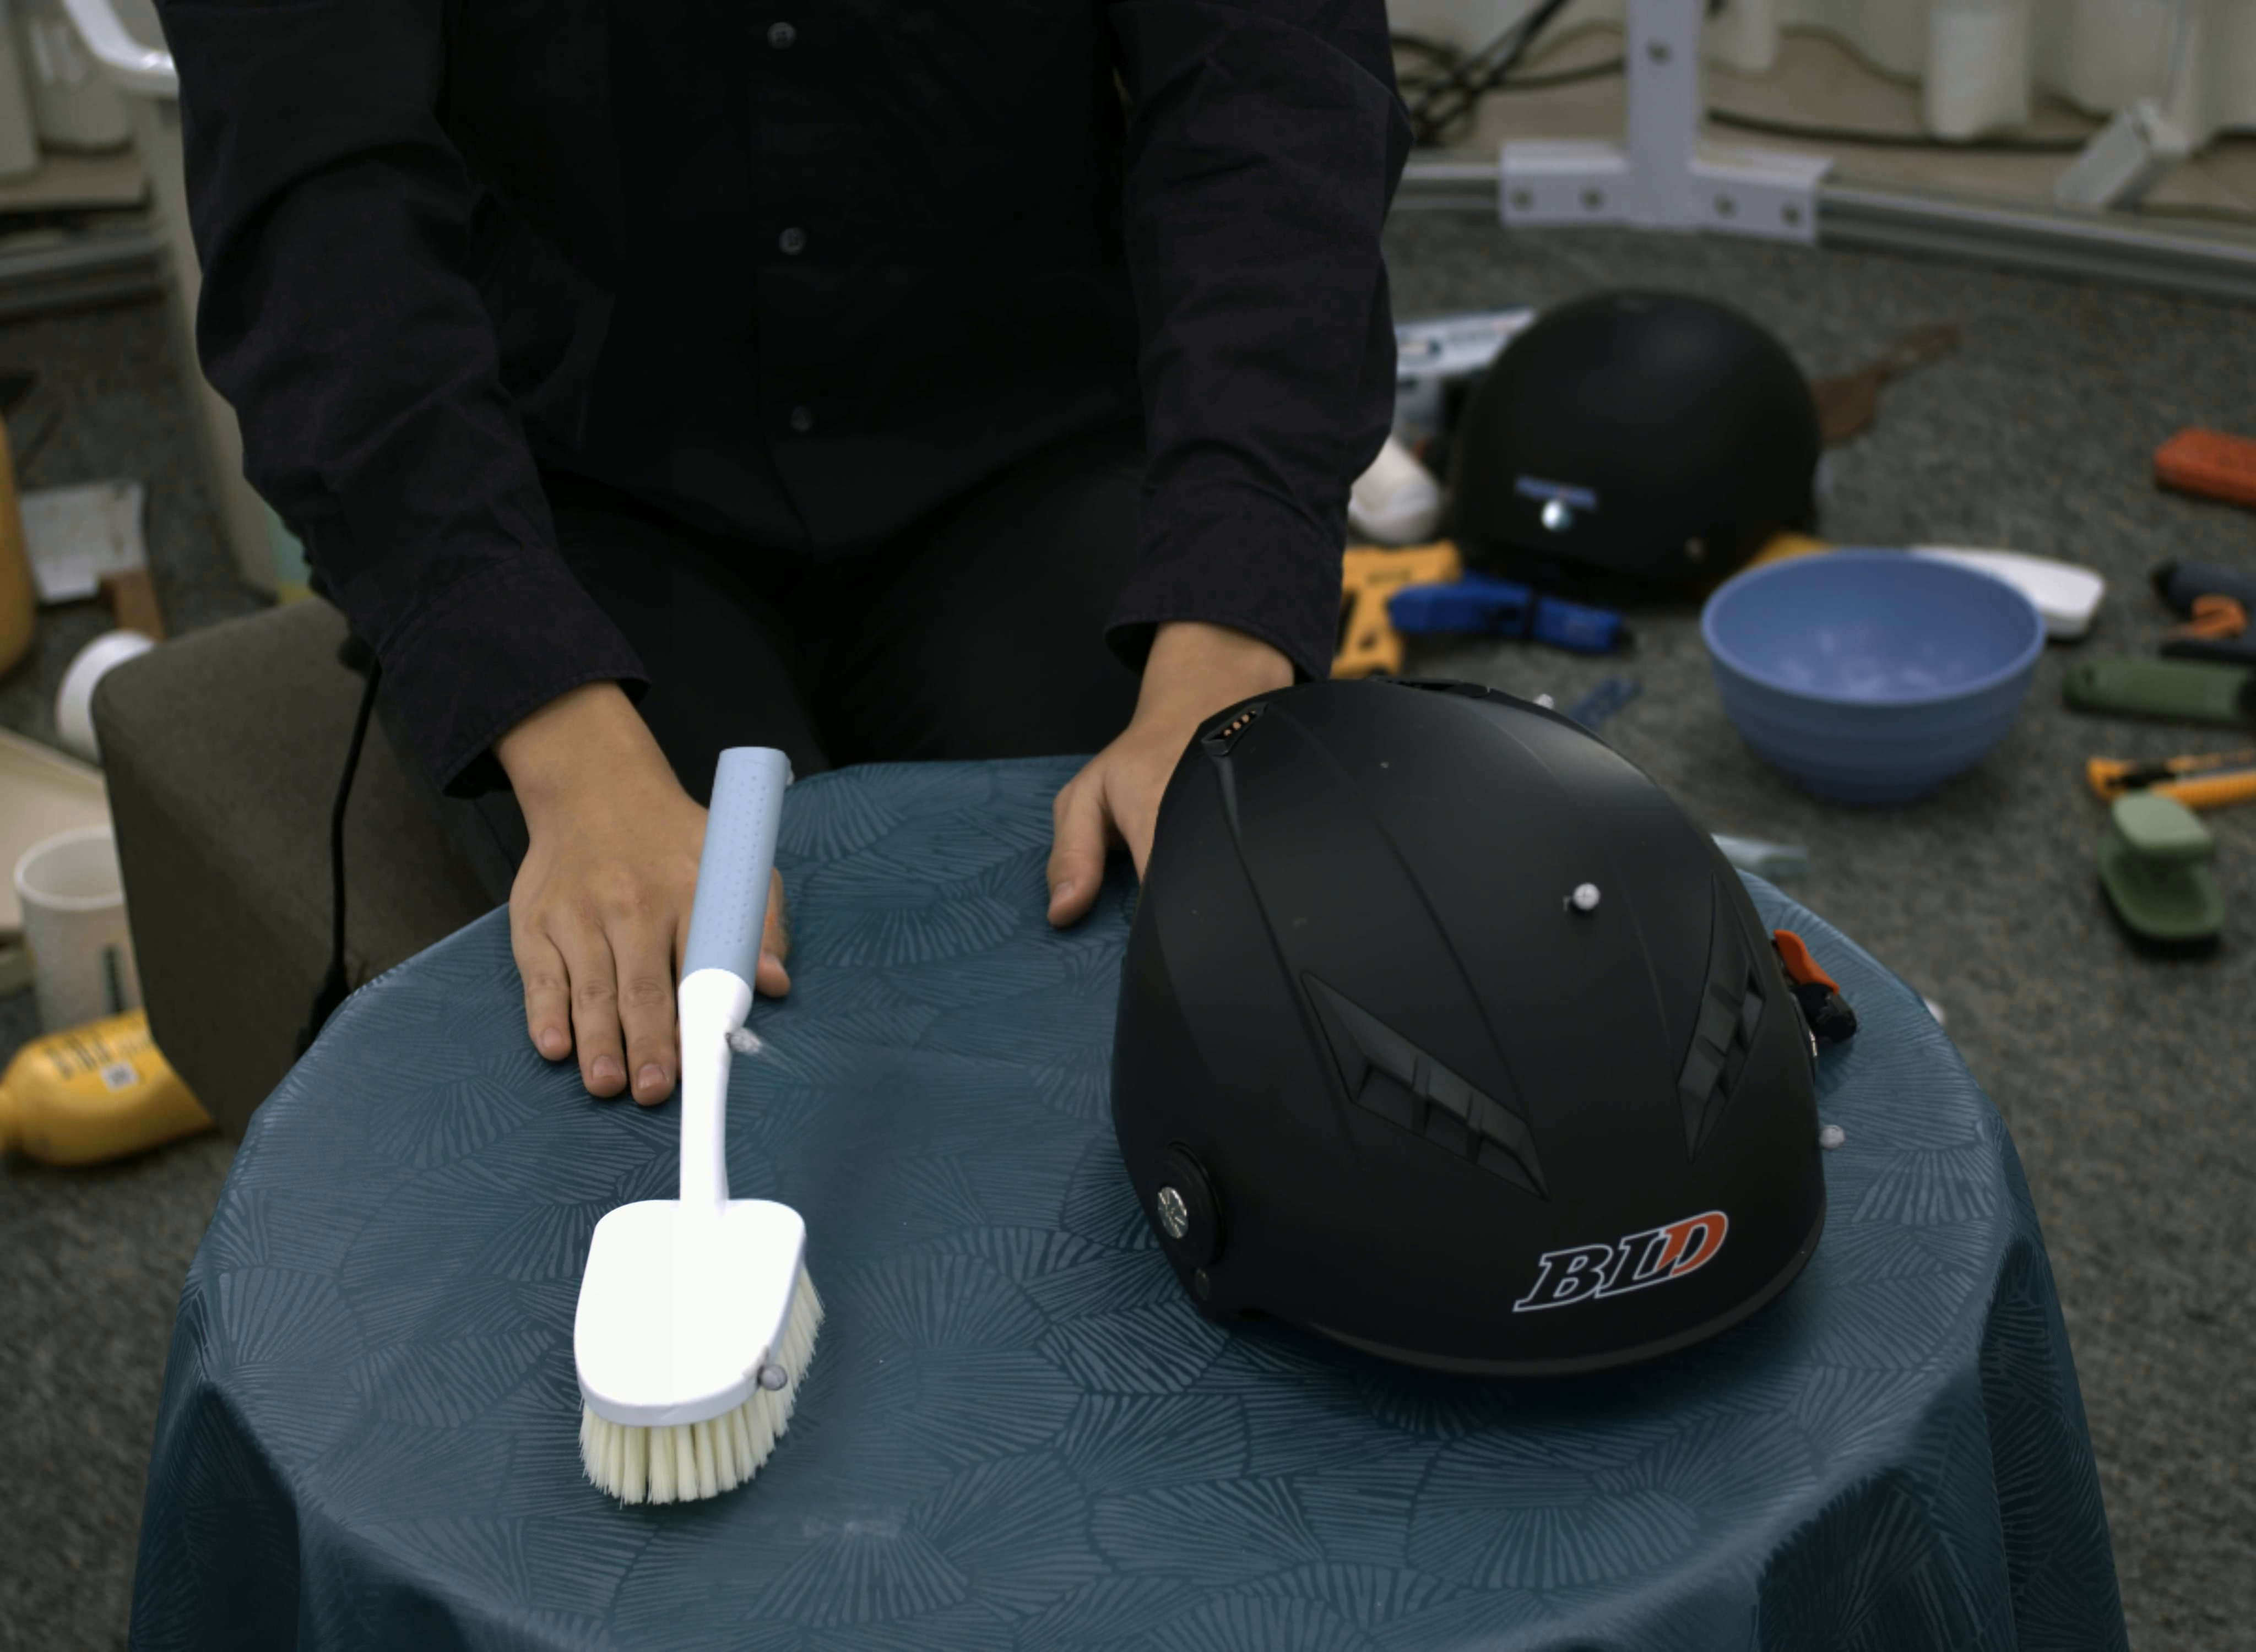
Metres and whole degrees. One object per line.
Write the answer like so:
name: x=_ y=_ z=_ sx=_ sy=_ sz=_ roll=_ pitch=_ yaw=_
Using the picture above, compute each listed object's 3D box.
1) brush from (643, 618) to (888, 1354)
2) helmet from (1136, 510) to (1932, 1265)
brush: x=-0.108 y=0.060 z=1.845 sx=0.083 sy=0.083 sz=0.332 roll=29 pitch=36 yaw=-18
helmet: x=0.126 y=0.010 z=1.831 sx=0.247 sy=0.170 sz=0.279 roll=-13 pitch=32 yaw=-16
